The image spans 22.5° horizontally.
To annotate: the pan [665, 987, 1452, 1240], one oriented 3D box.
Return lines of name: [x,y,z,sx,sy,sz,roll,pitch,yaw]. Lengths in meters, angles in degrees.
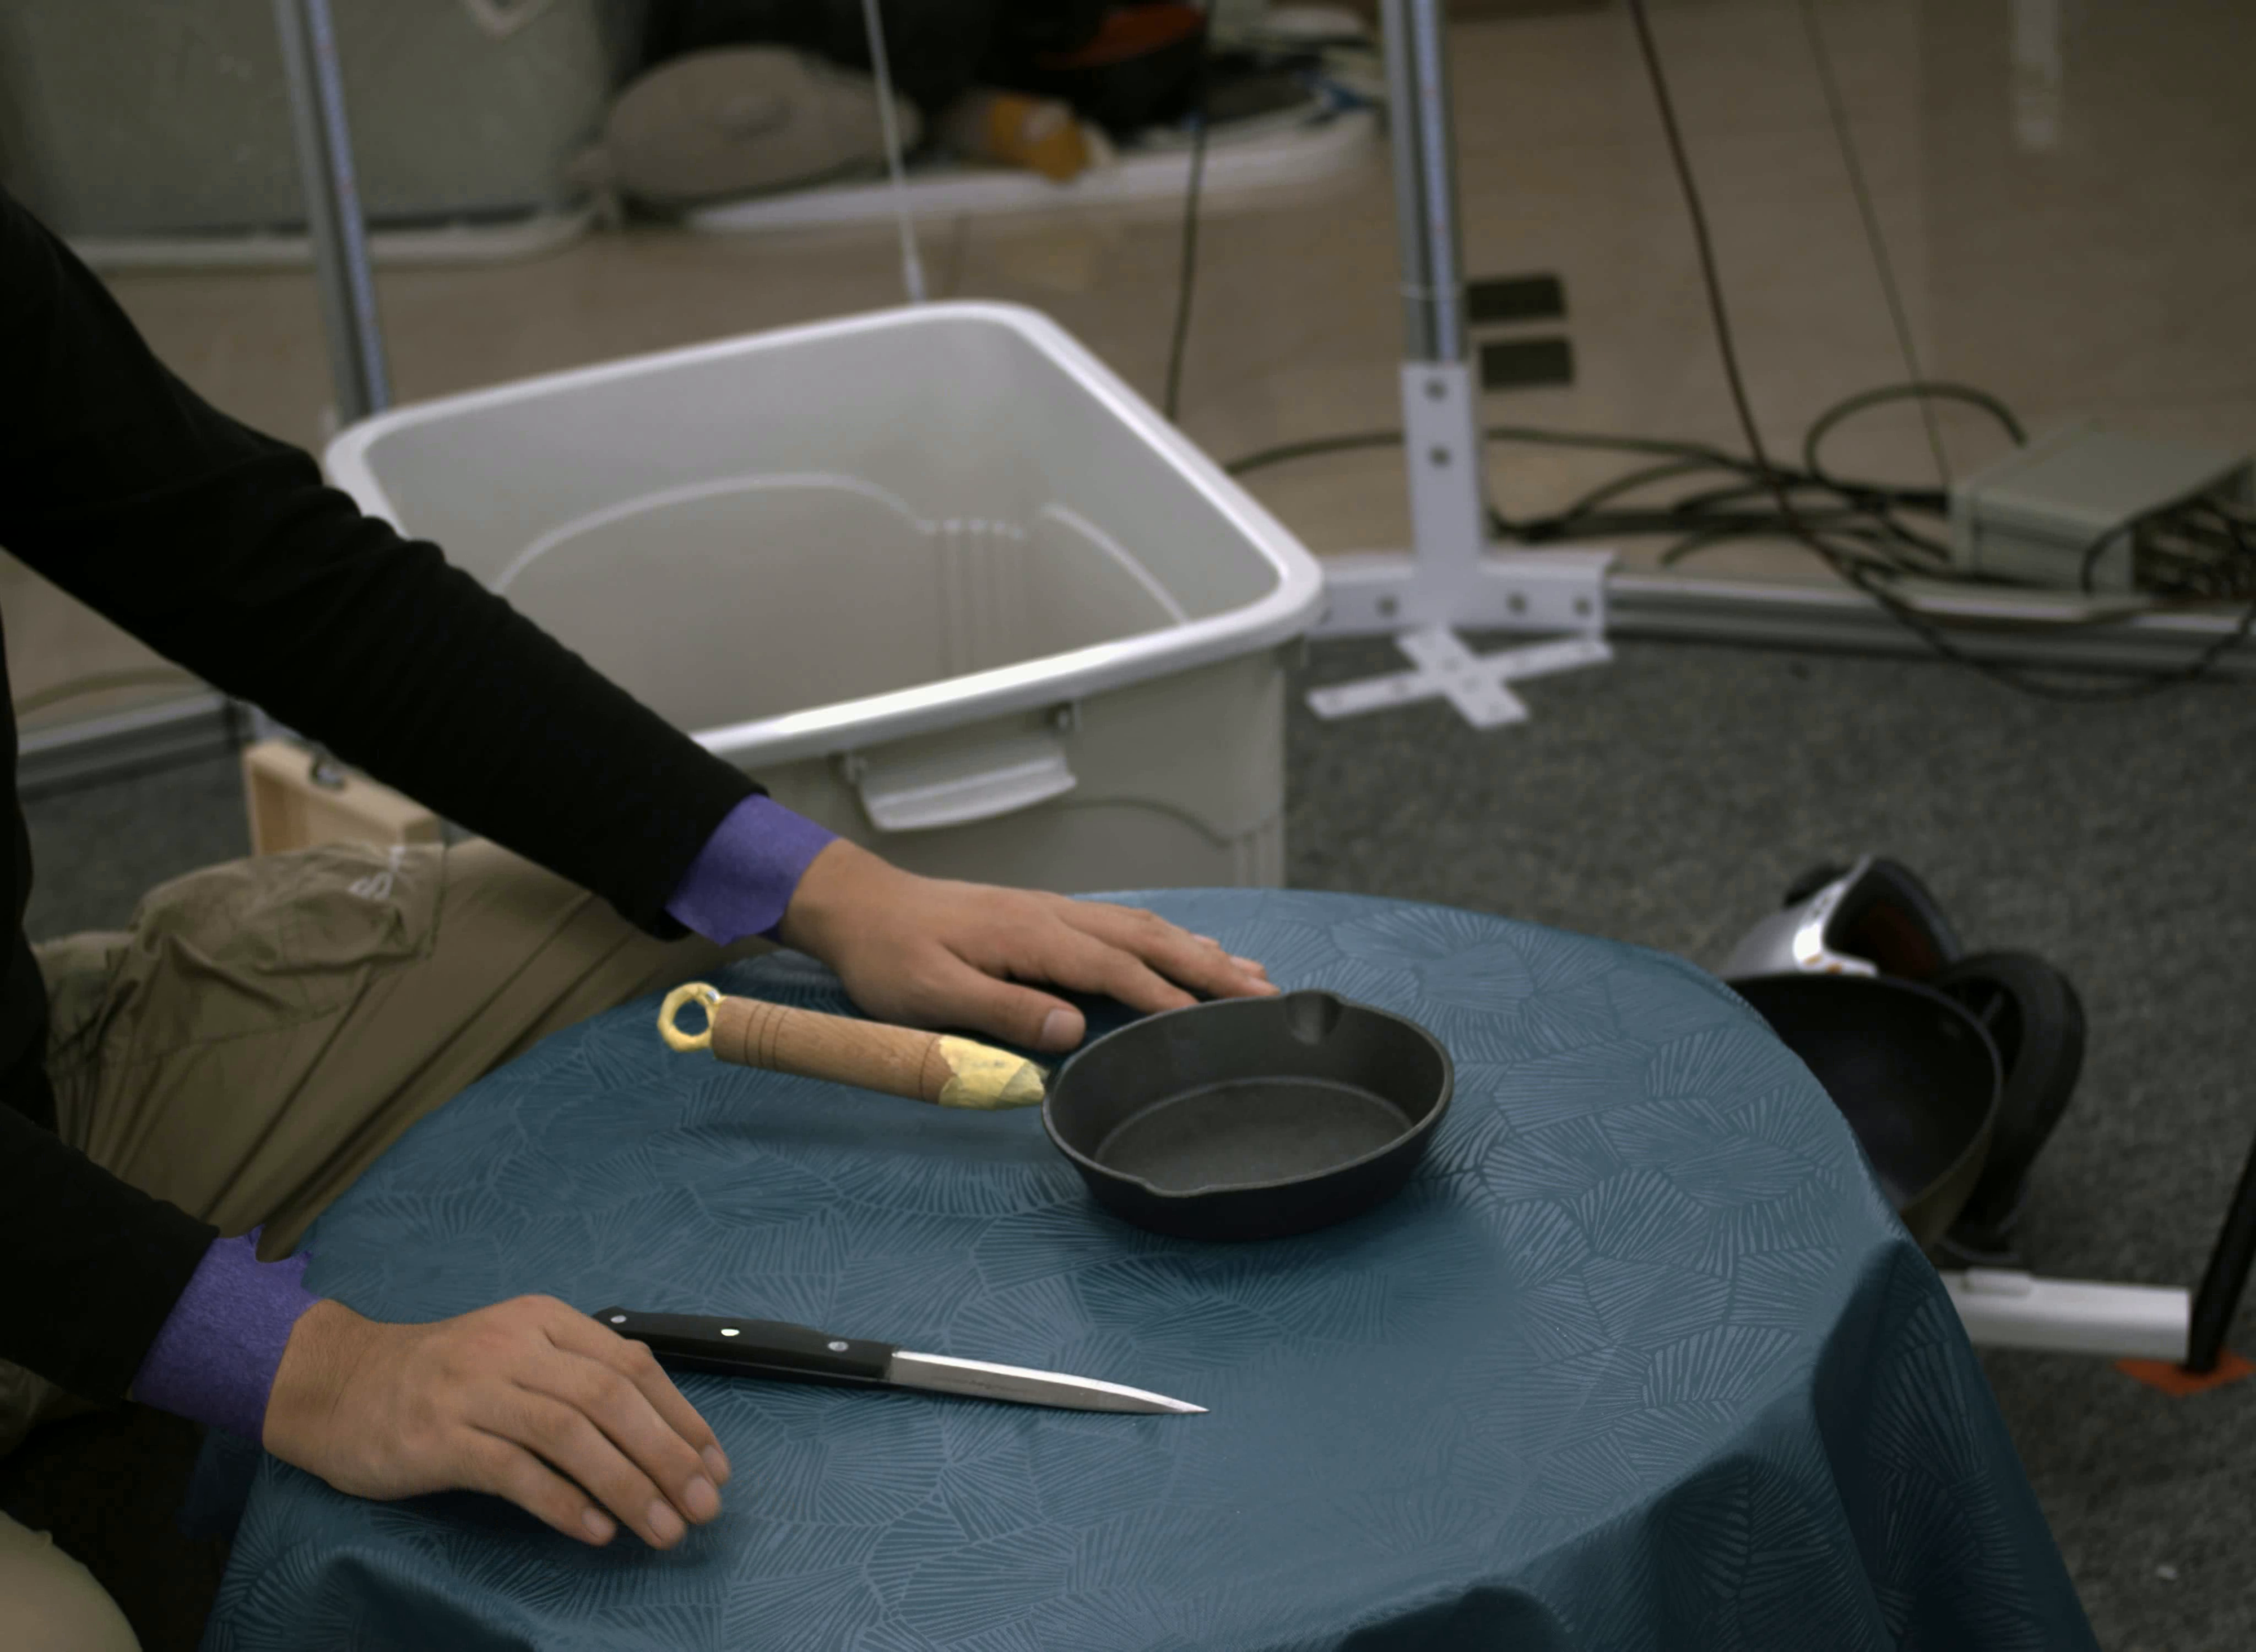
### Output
pan: [-0.031,0.102,2.183,0.323,0.050,0.167,4,27,24]

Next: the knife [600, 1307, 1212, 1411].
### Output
knife: [-0.083,0.195,2.038,0.237,0.016,0.024,6,27,18]
